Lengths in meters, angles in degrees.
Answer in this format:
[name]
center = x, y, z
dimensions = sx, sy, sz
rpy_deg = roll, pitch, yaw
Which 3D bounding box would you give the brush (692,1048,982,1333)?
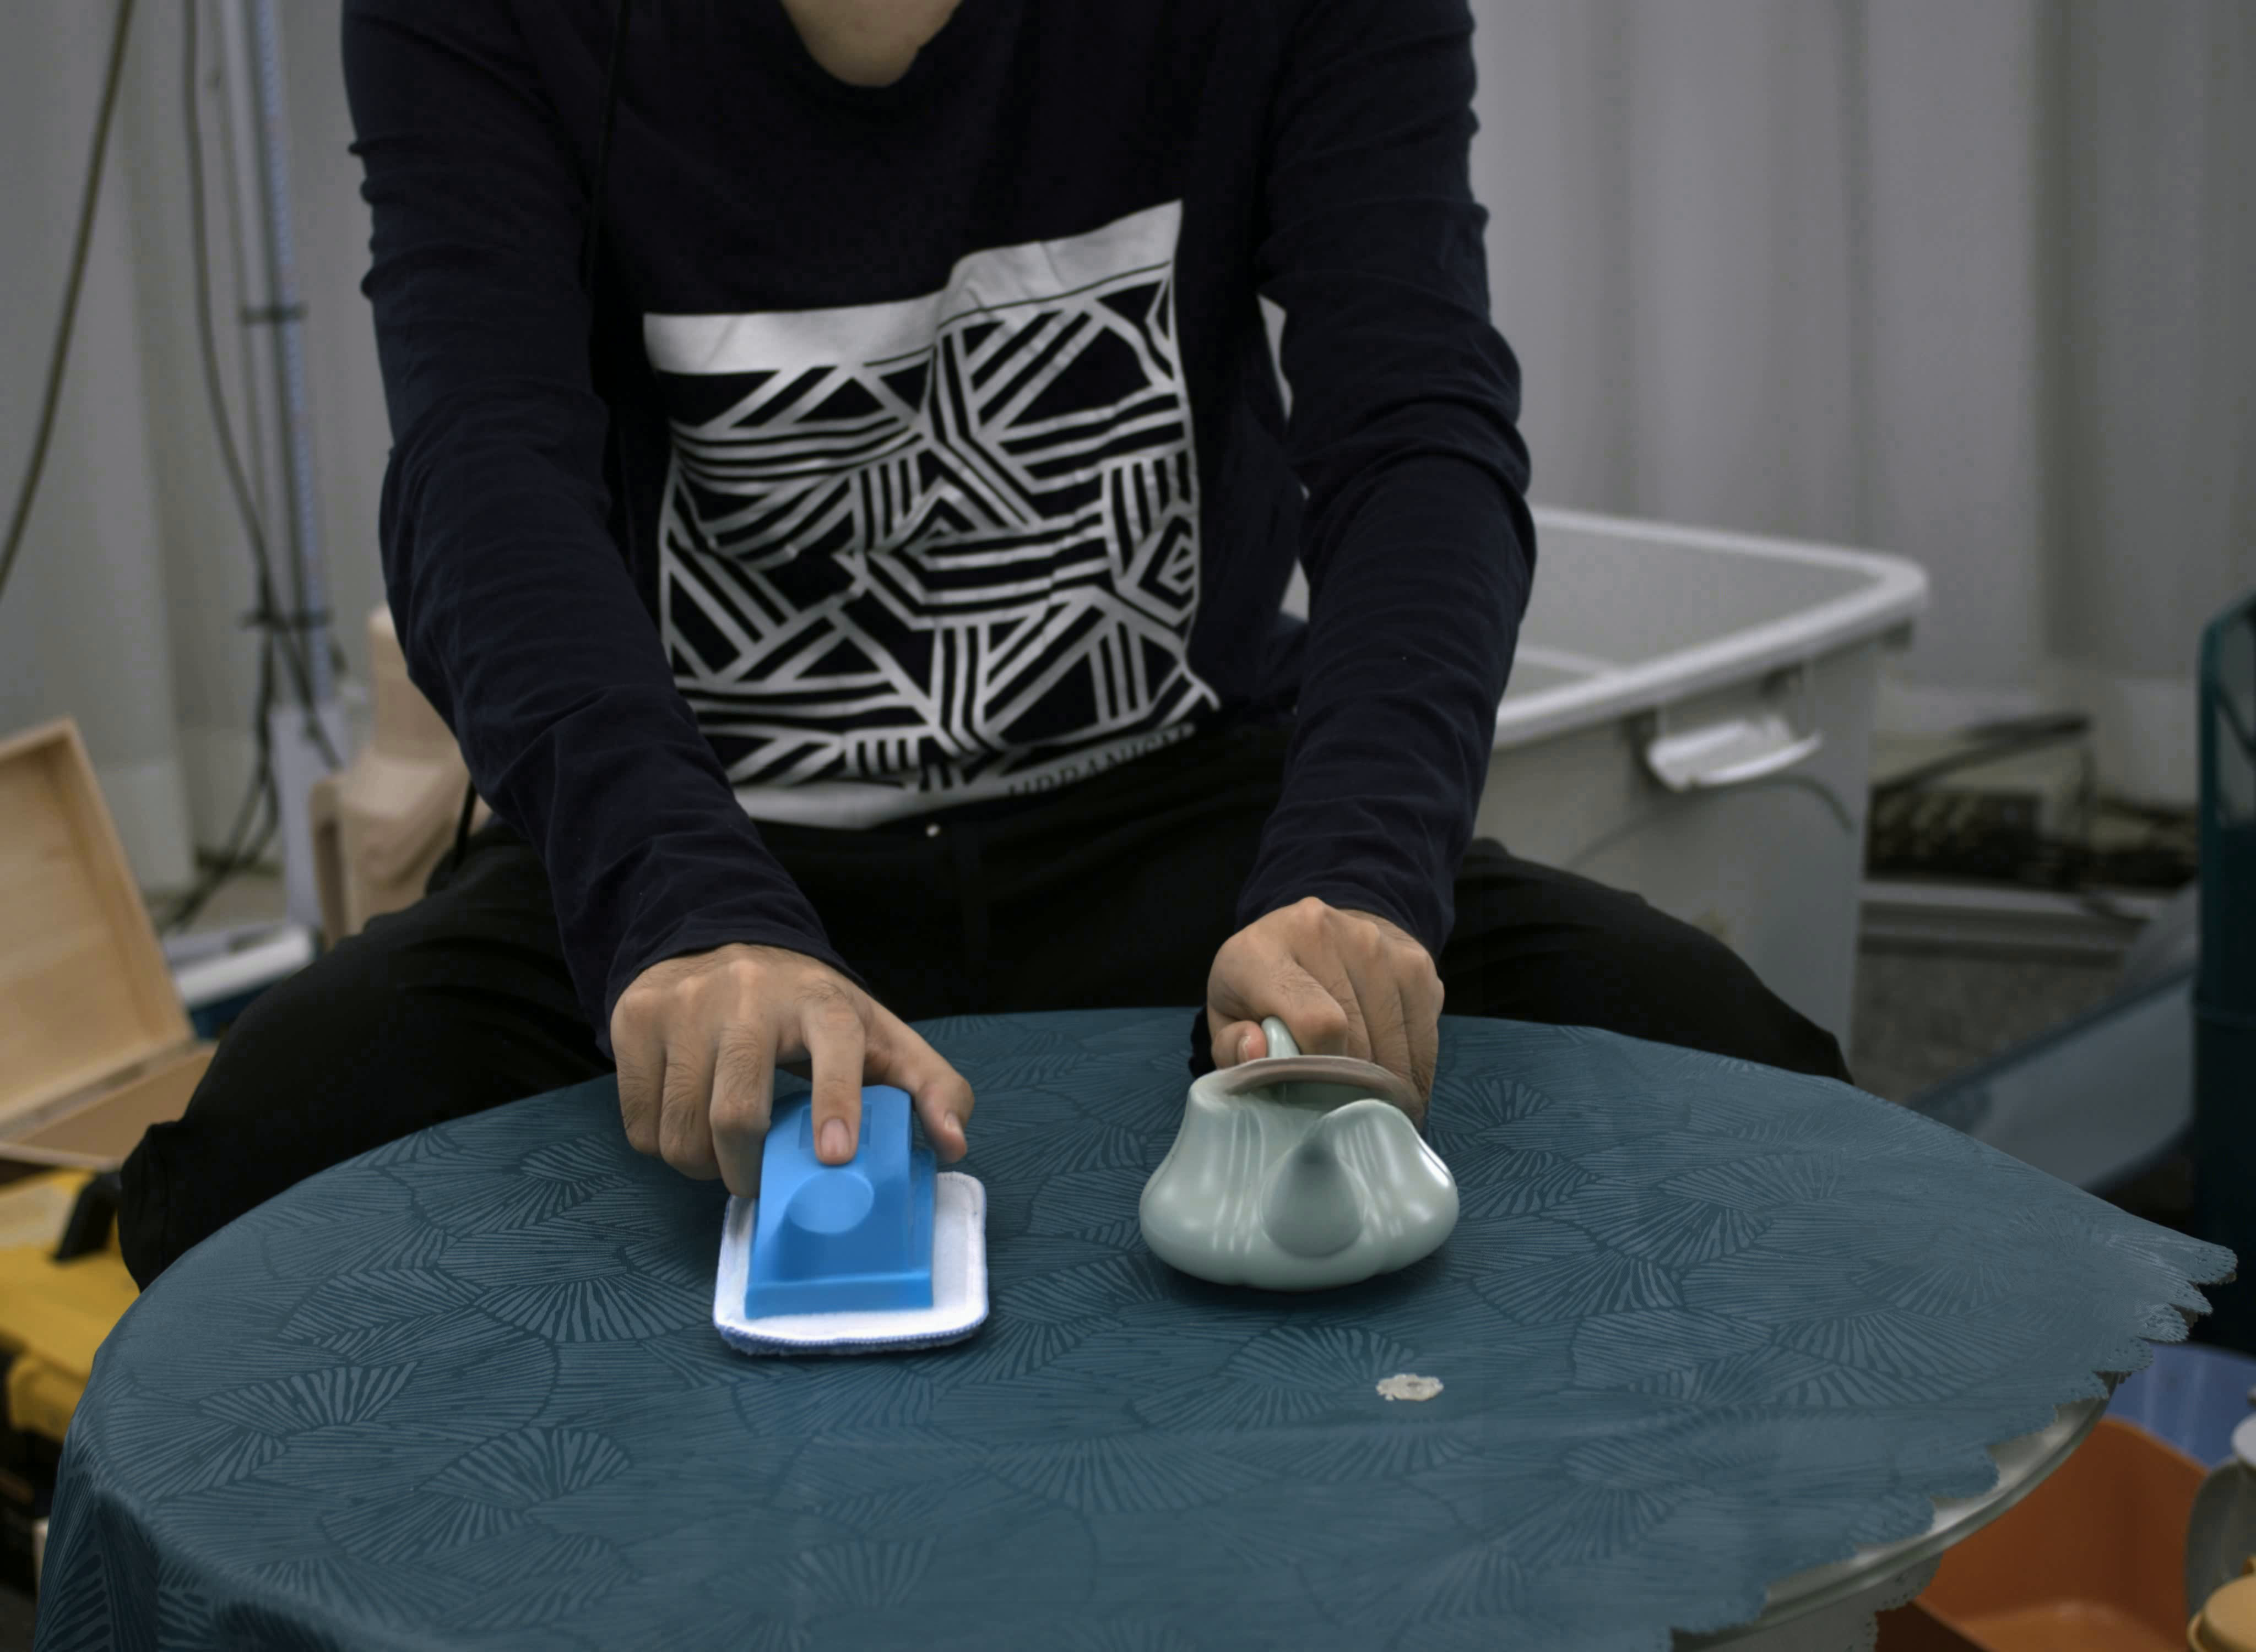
[brush]
center = -0.087, 0.106, 1.645
dimensions = 0.083, 0.055, 0.145
rpy_deg = 1, 17, 0

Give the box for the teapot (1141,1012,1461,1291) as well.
[teapot]
center = 0.050, 0.101, 1.641
dimensions = 0.096, 0.061, 0.138
rpy_deg = -6, 16, -4
